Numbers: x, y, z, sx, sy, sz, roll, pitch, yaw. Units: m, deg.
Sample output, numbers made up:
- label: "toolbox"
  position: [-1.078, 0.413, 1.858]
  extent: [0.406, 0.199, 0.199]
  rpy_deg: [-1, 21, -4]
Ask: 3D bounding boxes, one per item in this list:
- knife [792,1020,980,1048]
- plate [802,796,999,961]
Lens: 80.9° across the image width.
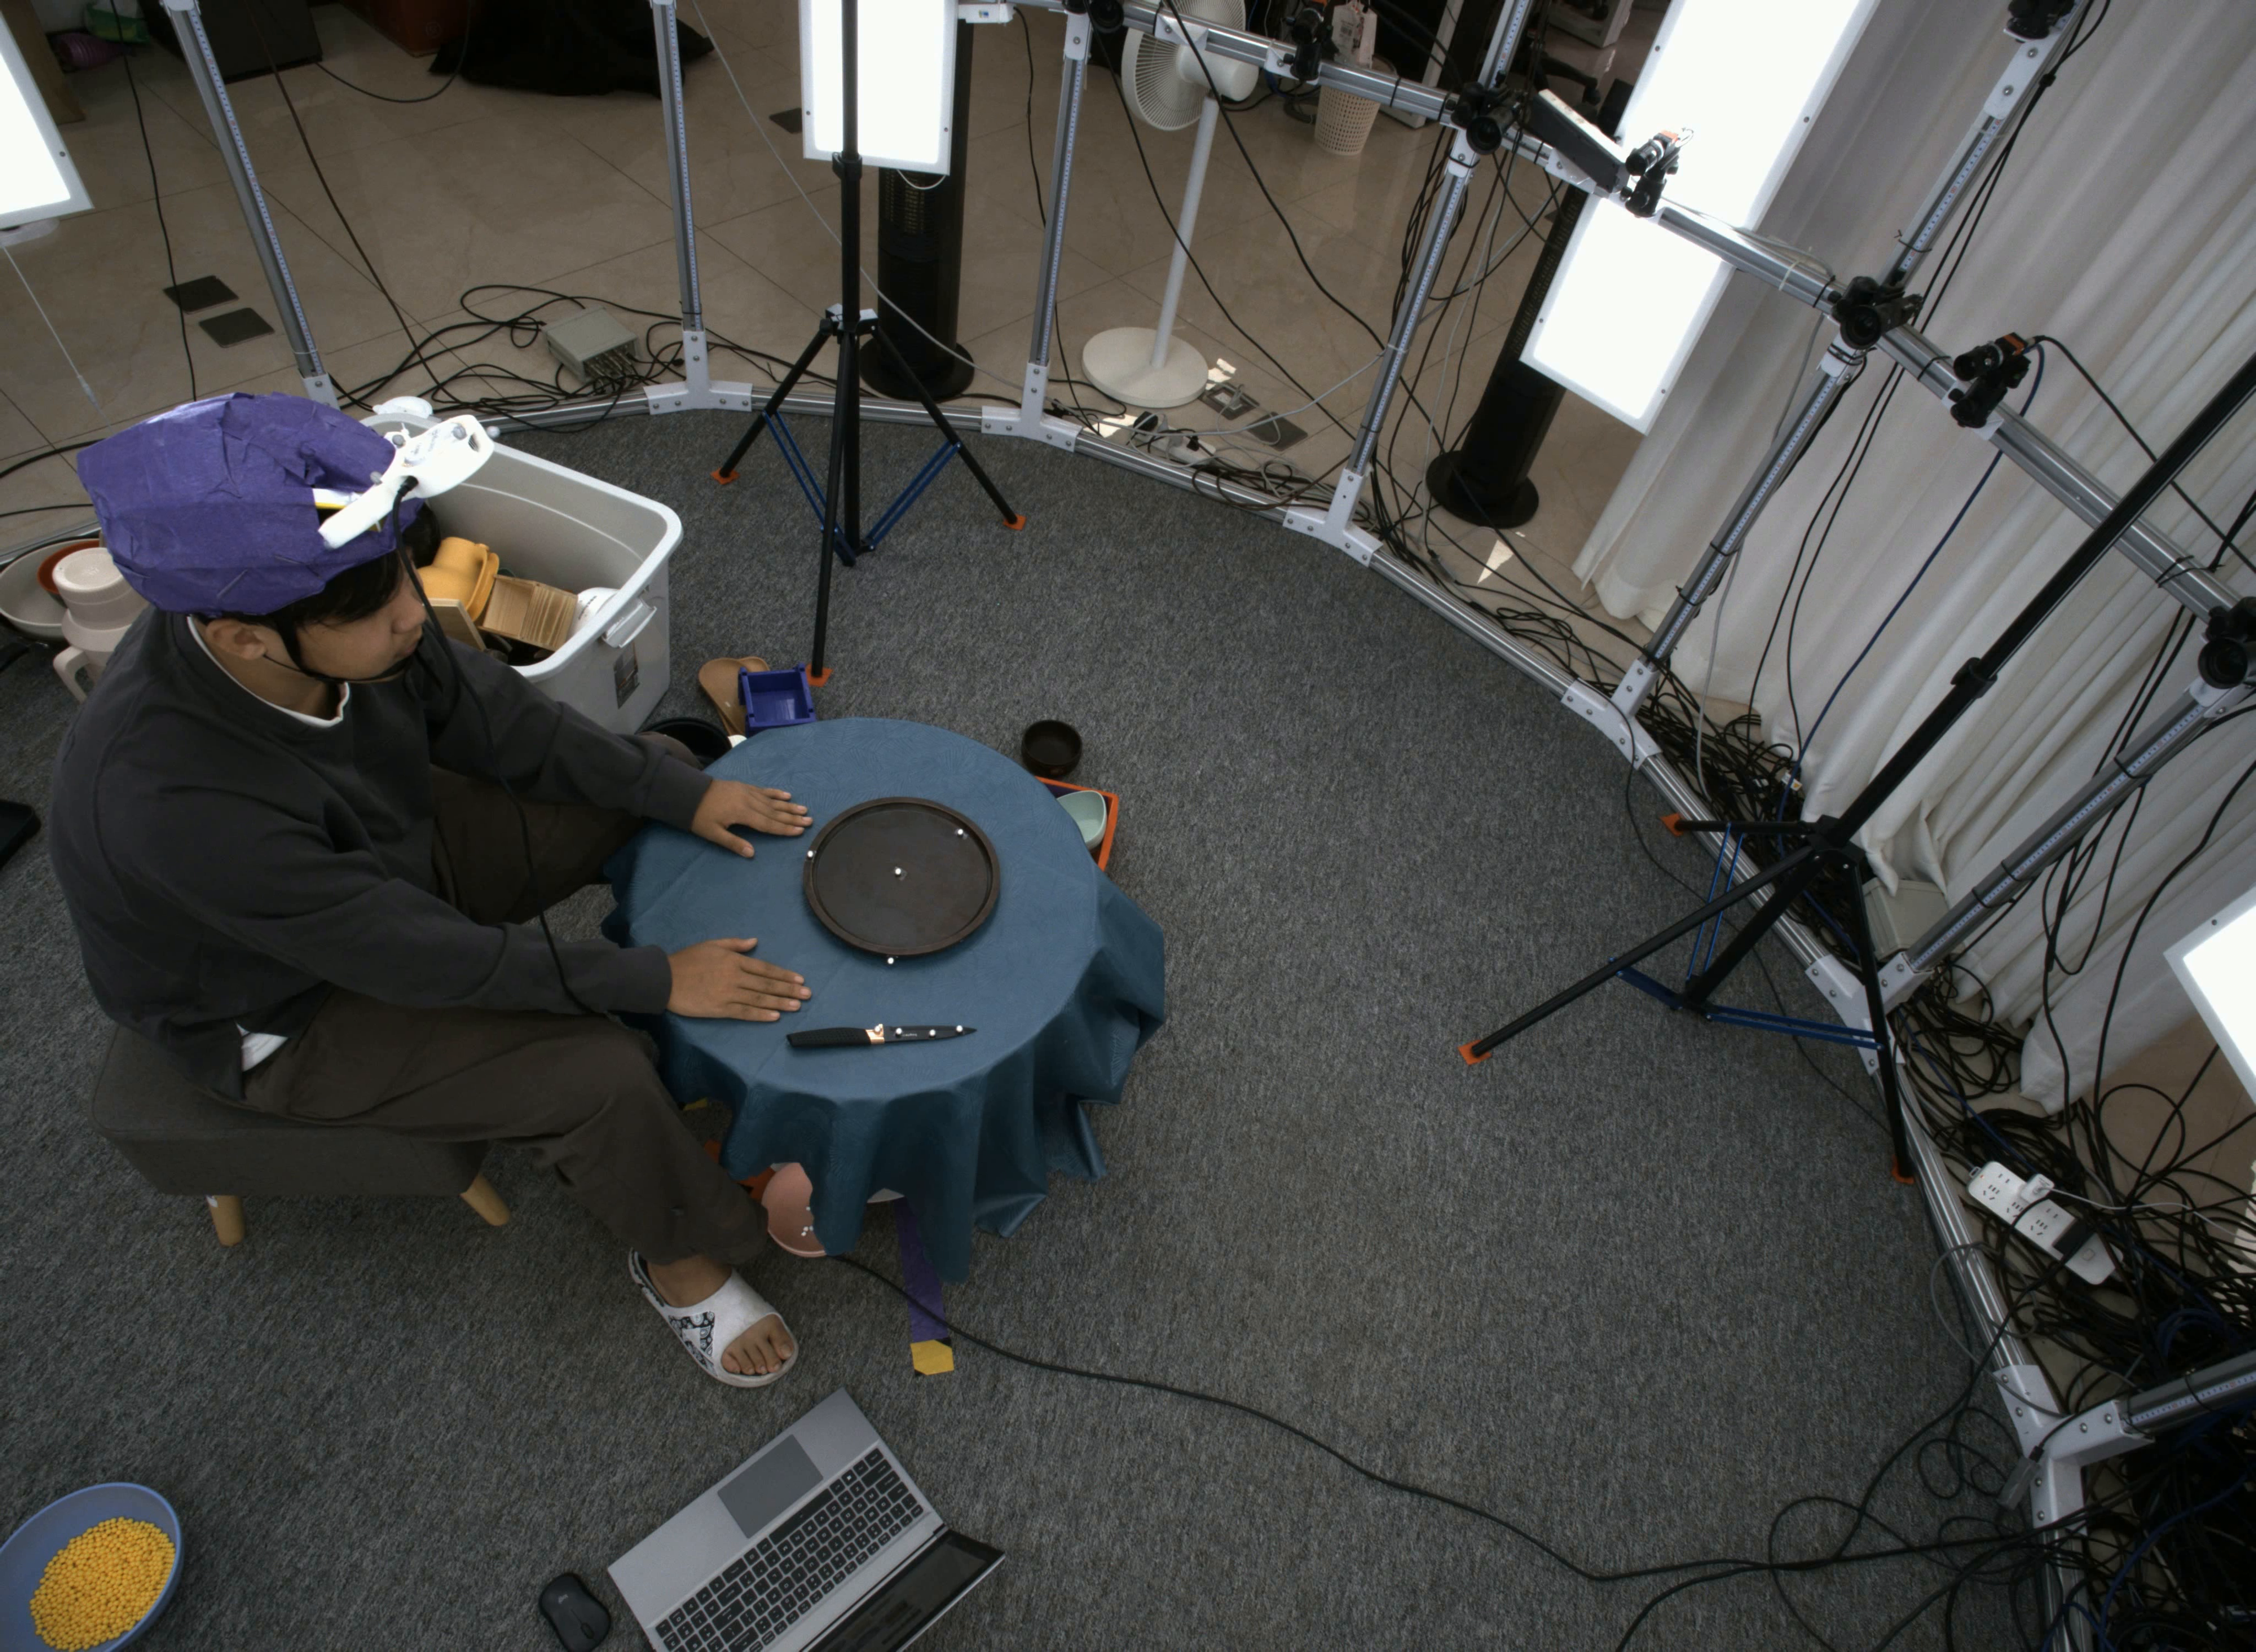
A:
- label: "knife"
  position: [-0.289, 0.246, 1.563]
  extent: [0.226, 0.017, 0.025]
  rpy_deg: [-2, 48, -16]
- label: "plate"
  position: [-0.293, 0.065, 1.690]
  extent: [0.254, 0.029, 0.250]
  rpy_deg: [7, 54, -8]
